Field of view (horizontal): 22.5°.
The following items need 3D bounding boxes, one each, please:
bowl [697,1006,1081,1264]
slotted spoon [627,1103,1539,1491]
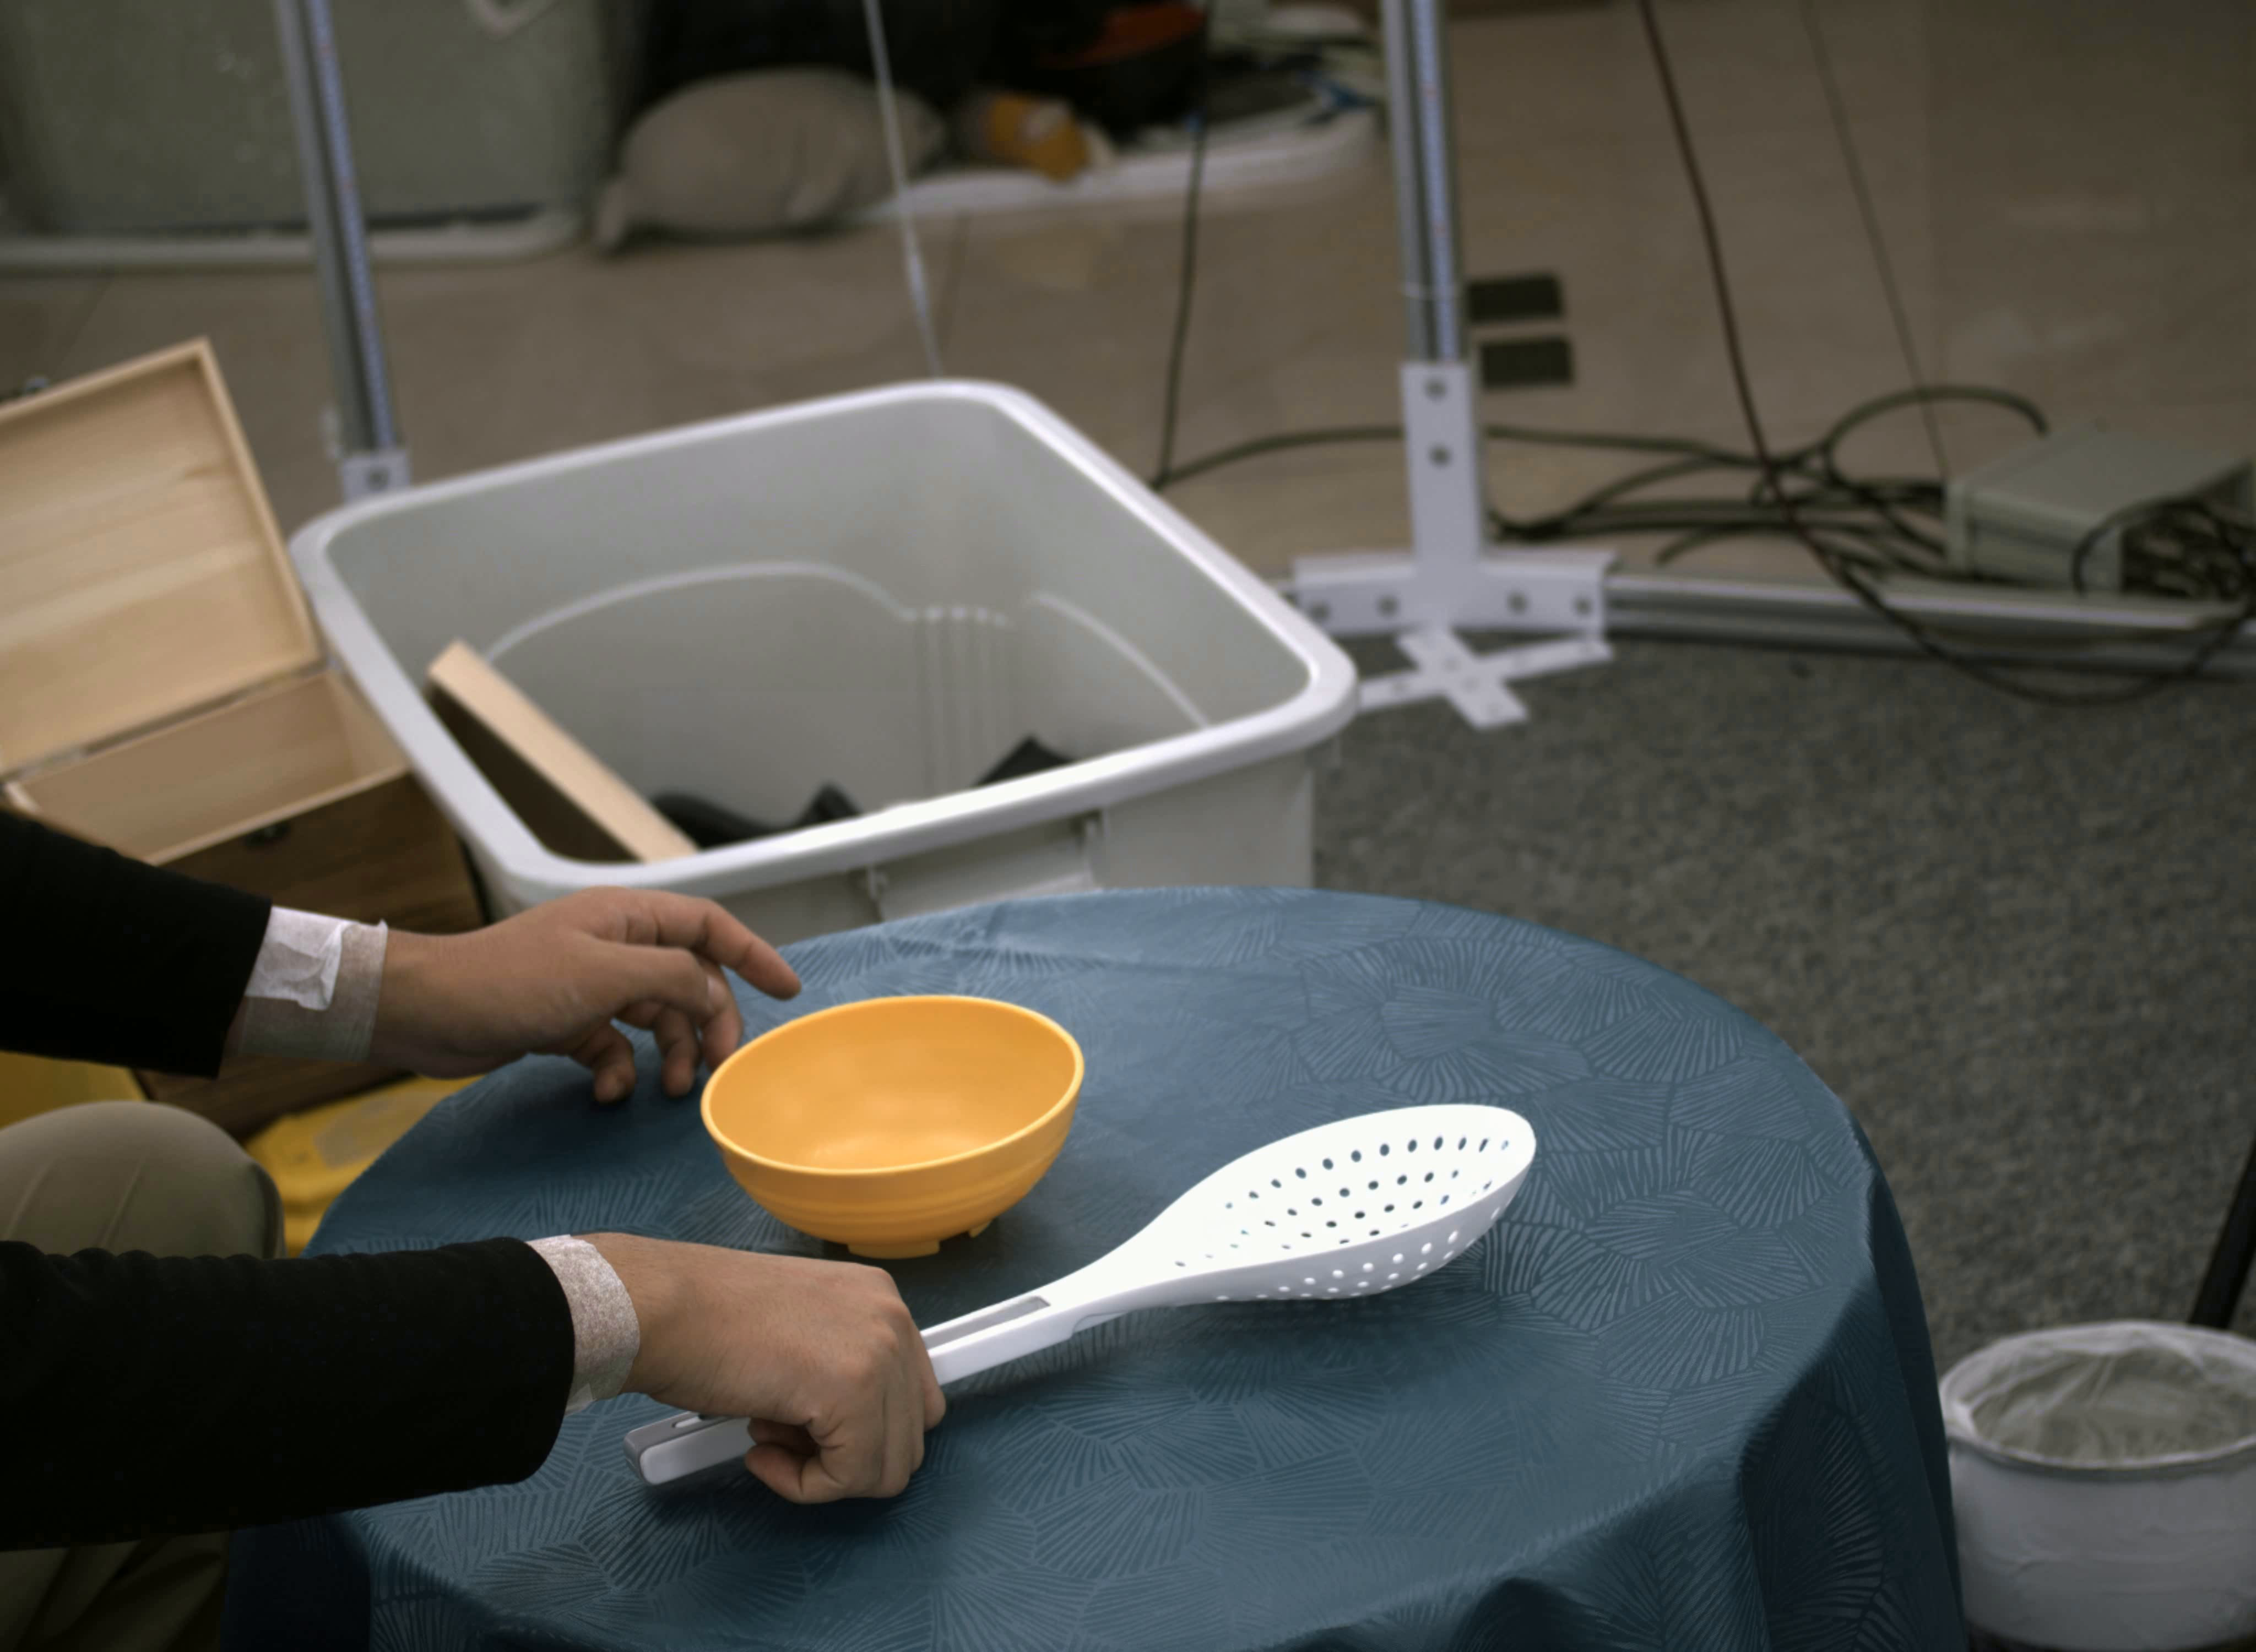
[{"bbox_3d":[-0.088,0.124,2.135,0.145,0.061,0.143,-4,23,2],"label":"bowl"},{"bbox_3d":[-0.013,0.168,2.026,0.348,0.046,0.135,-15,14,-17],"label":"slotted spoon"}]
